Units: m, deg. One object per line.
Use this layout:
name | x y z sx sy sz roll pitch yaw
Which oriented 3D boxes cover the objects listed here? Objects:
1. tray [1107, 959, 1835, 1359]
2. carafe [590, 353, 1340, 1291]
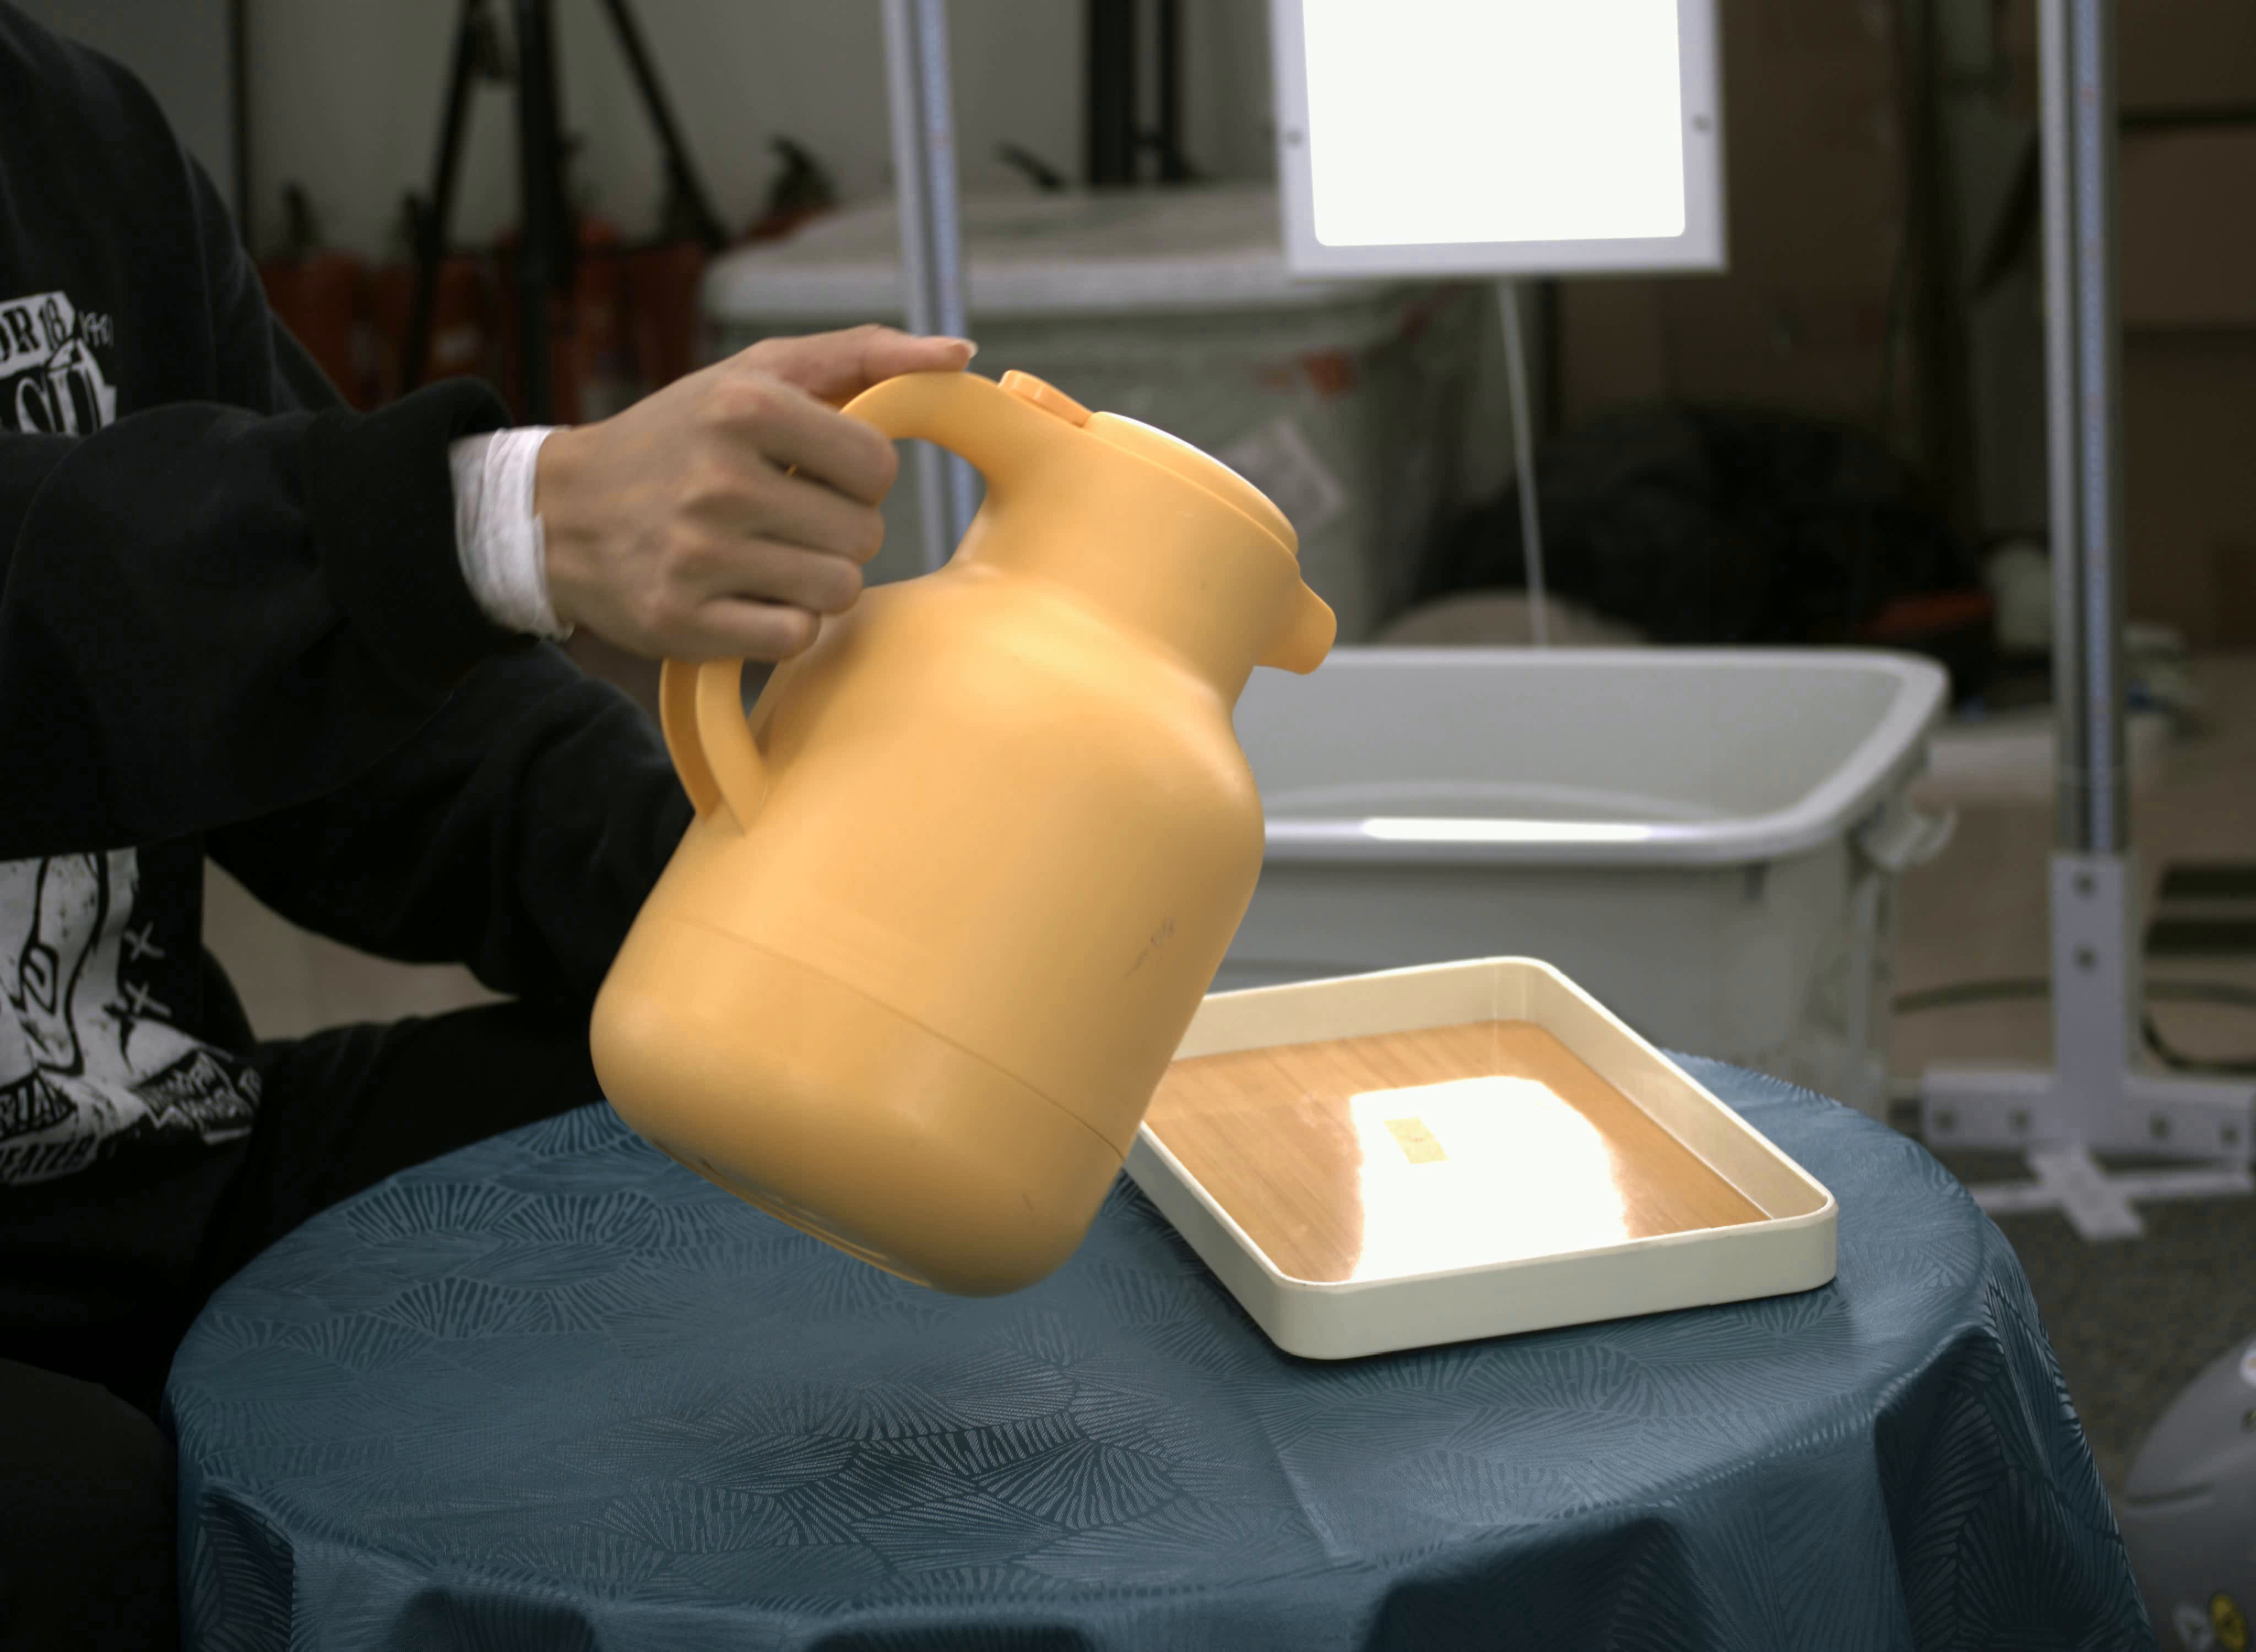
tray | 0.099 0.107 1.853 0.189 0.027 0.303 -7 16 -13
carafe | -0.056 -0.011 1.649 0.199 0.259 0.166 34 -14 -27
